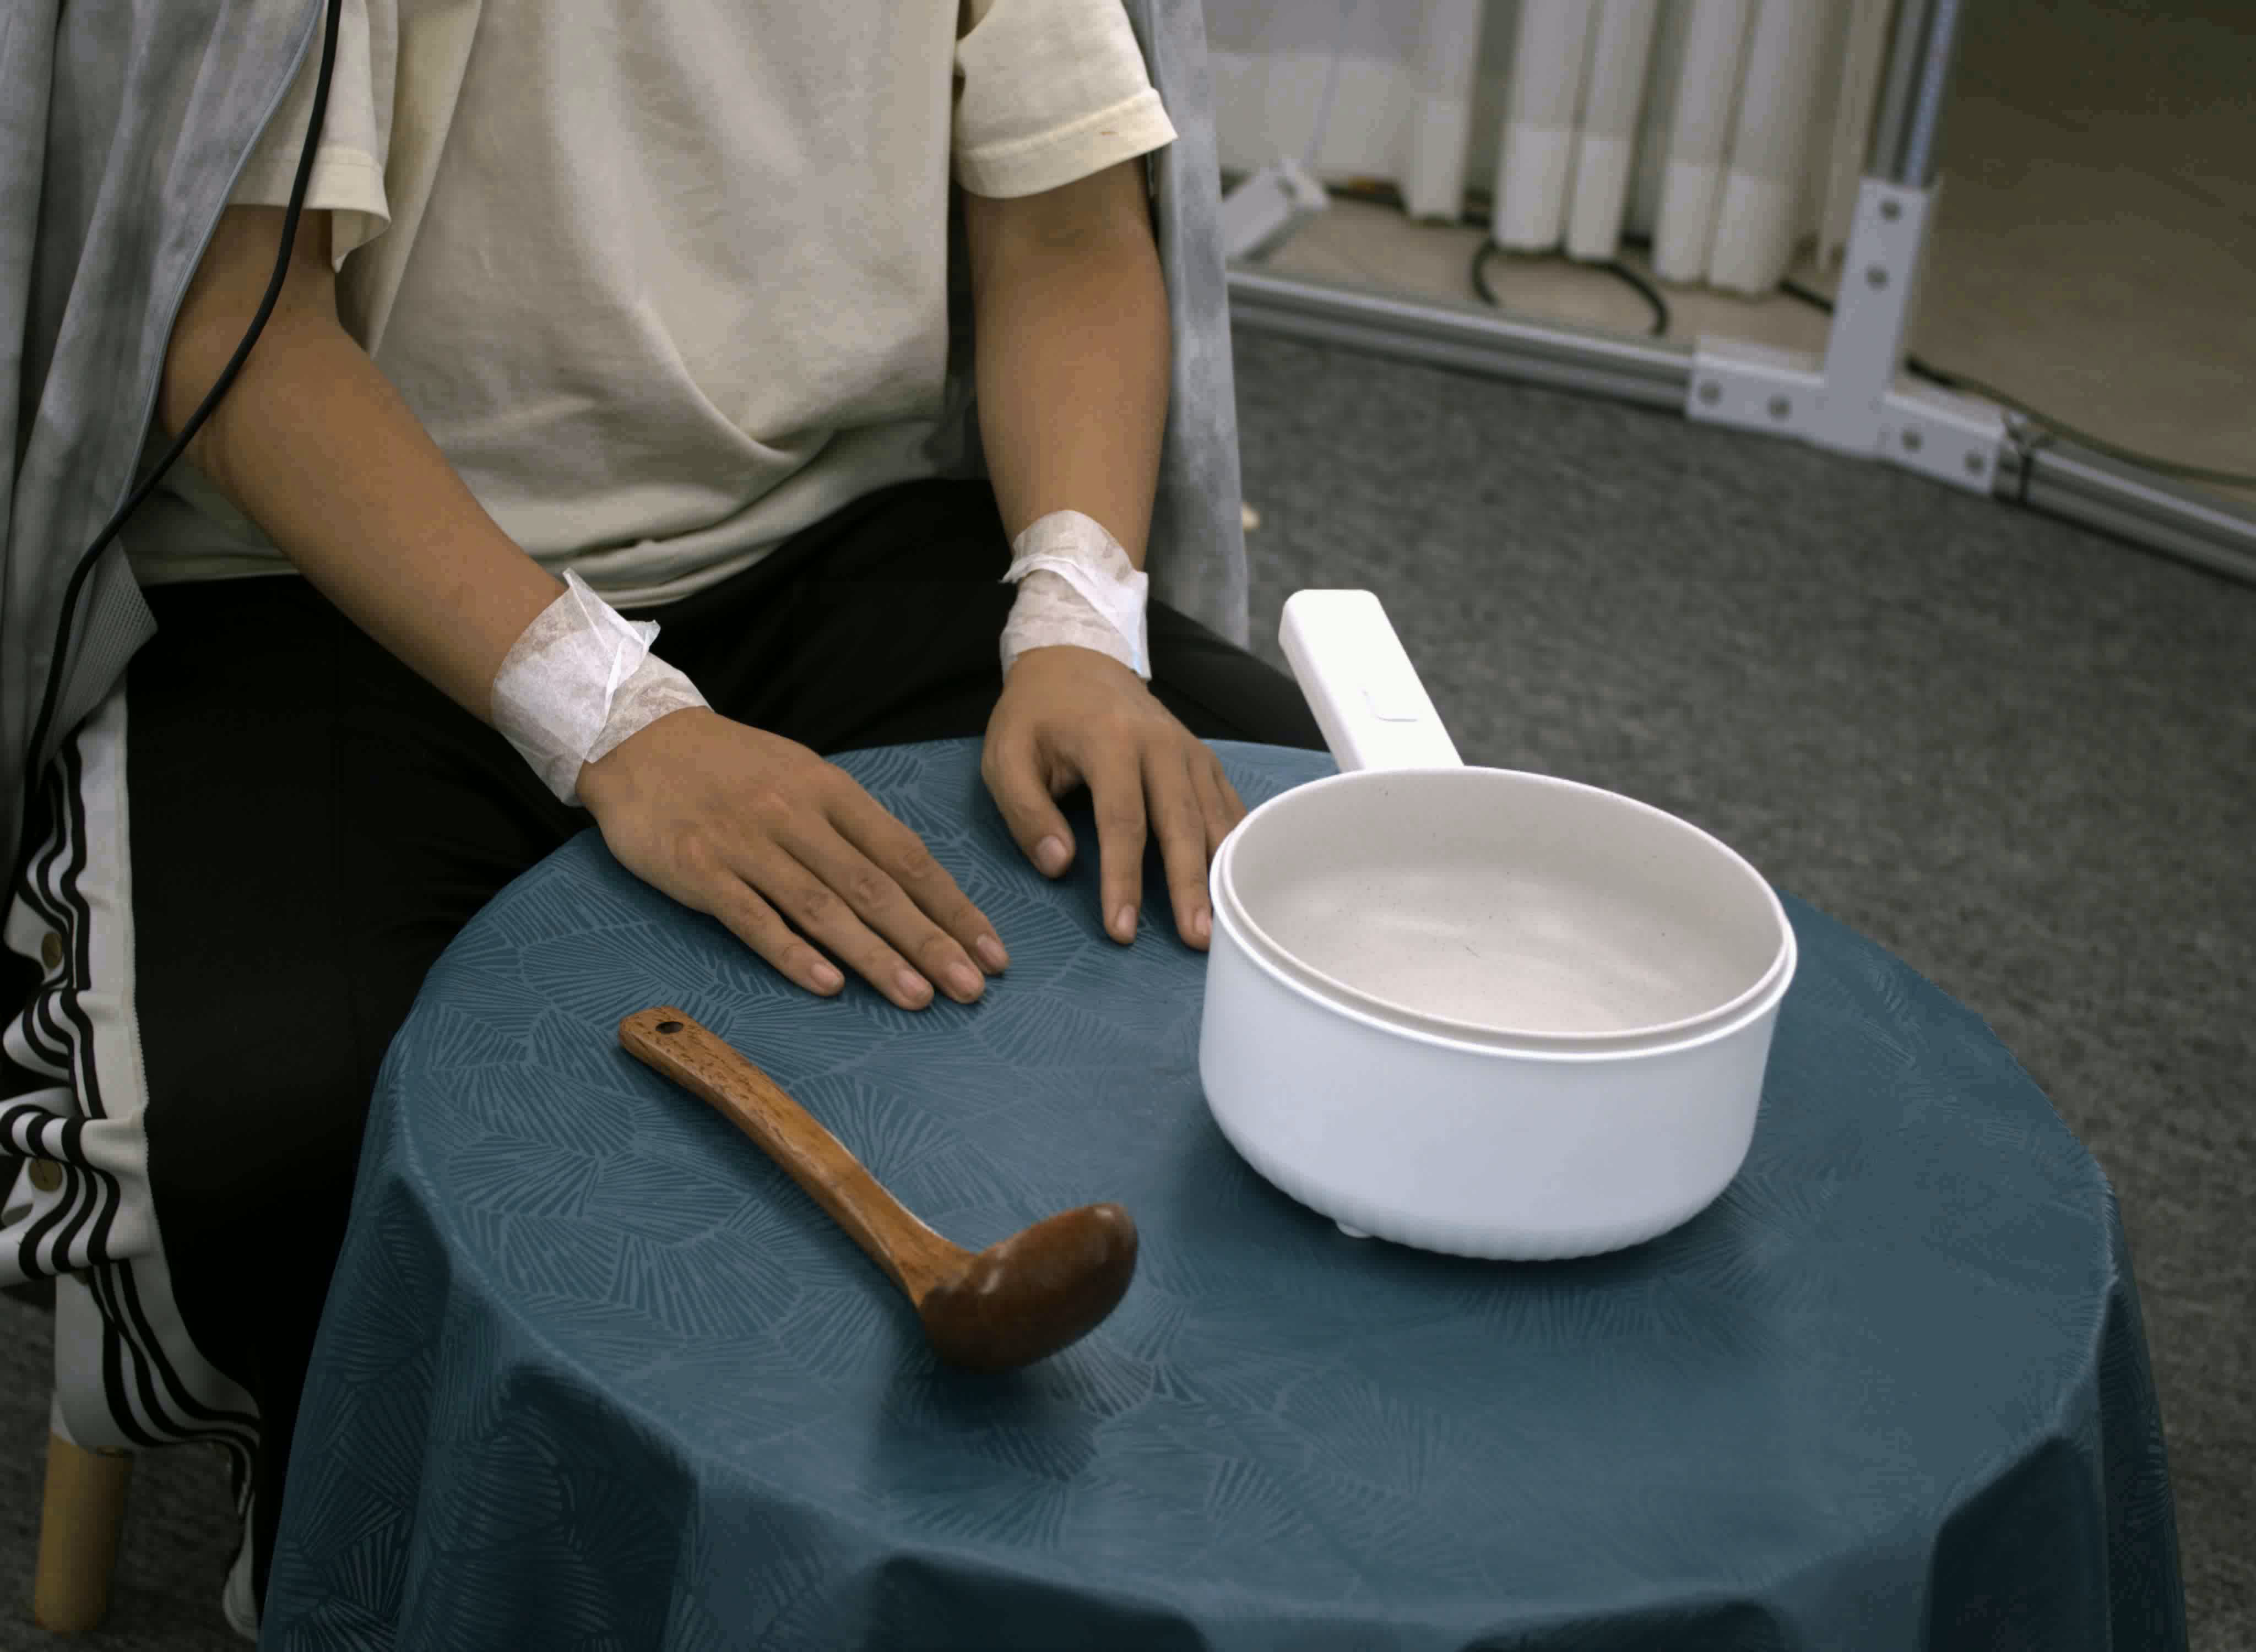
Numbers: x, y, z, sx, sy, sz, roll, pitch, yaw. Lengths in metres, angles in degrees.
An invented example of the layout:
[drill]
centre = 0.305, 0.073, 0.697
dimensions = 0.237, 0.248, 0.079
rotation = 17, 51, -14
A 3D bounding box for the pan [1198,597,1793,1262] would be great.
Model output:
[pan]
centre = 0.108, 0.034, 1.899
dimensions = 0.200, 0.102, 0.357
rotation = -1, 27, -12

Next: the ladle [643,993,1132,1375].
[ladle]
centre = -0.092, 0.098, 1.747
dimensions = 0.081, 0.076, 0.276
rotation = -12, 33, -29
